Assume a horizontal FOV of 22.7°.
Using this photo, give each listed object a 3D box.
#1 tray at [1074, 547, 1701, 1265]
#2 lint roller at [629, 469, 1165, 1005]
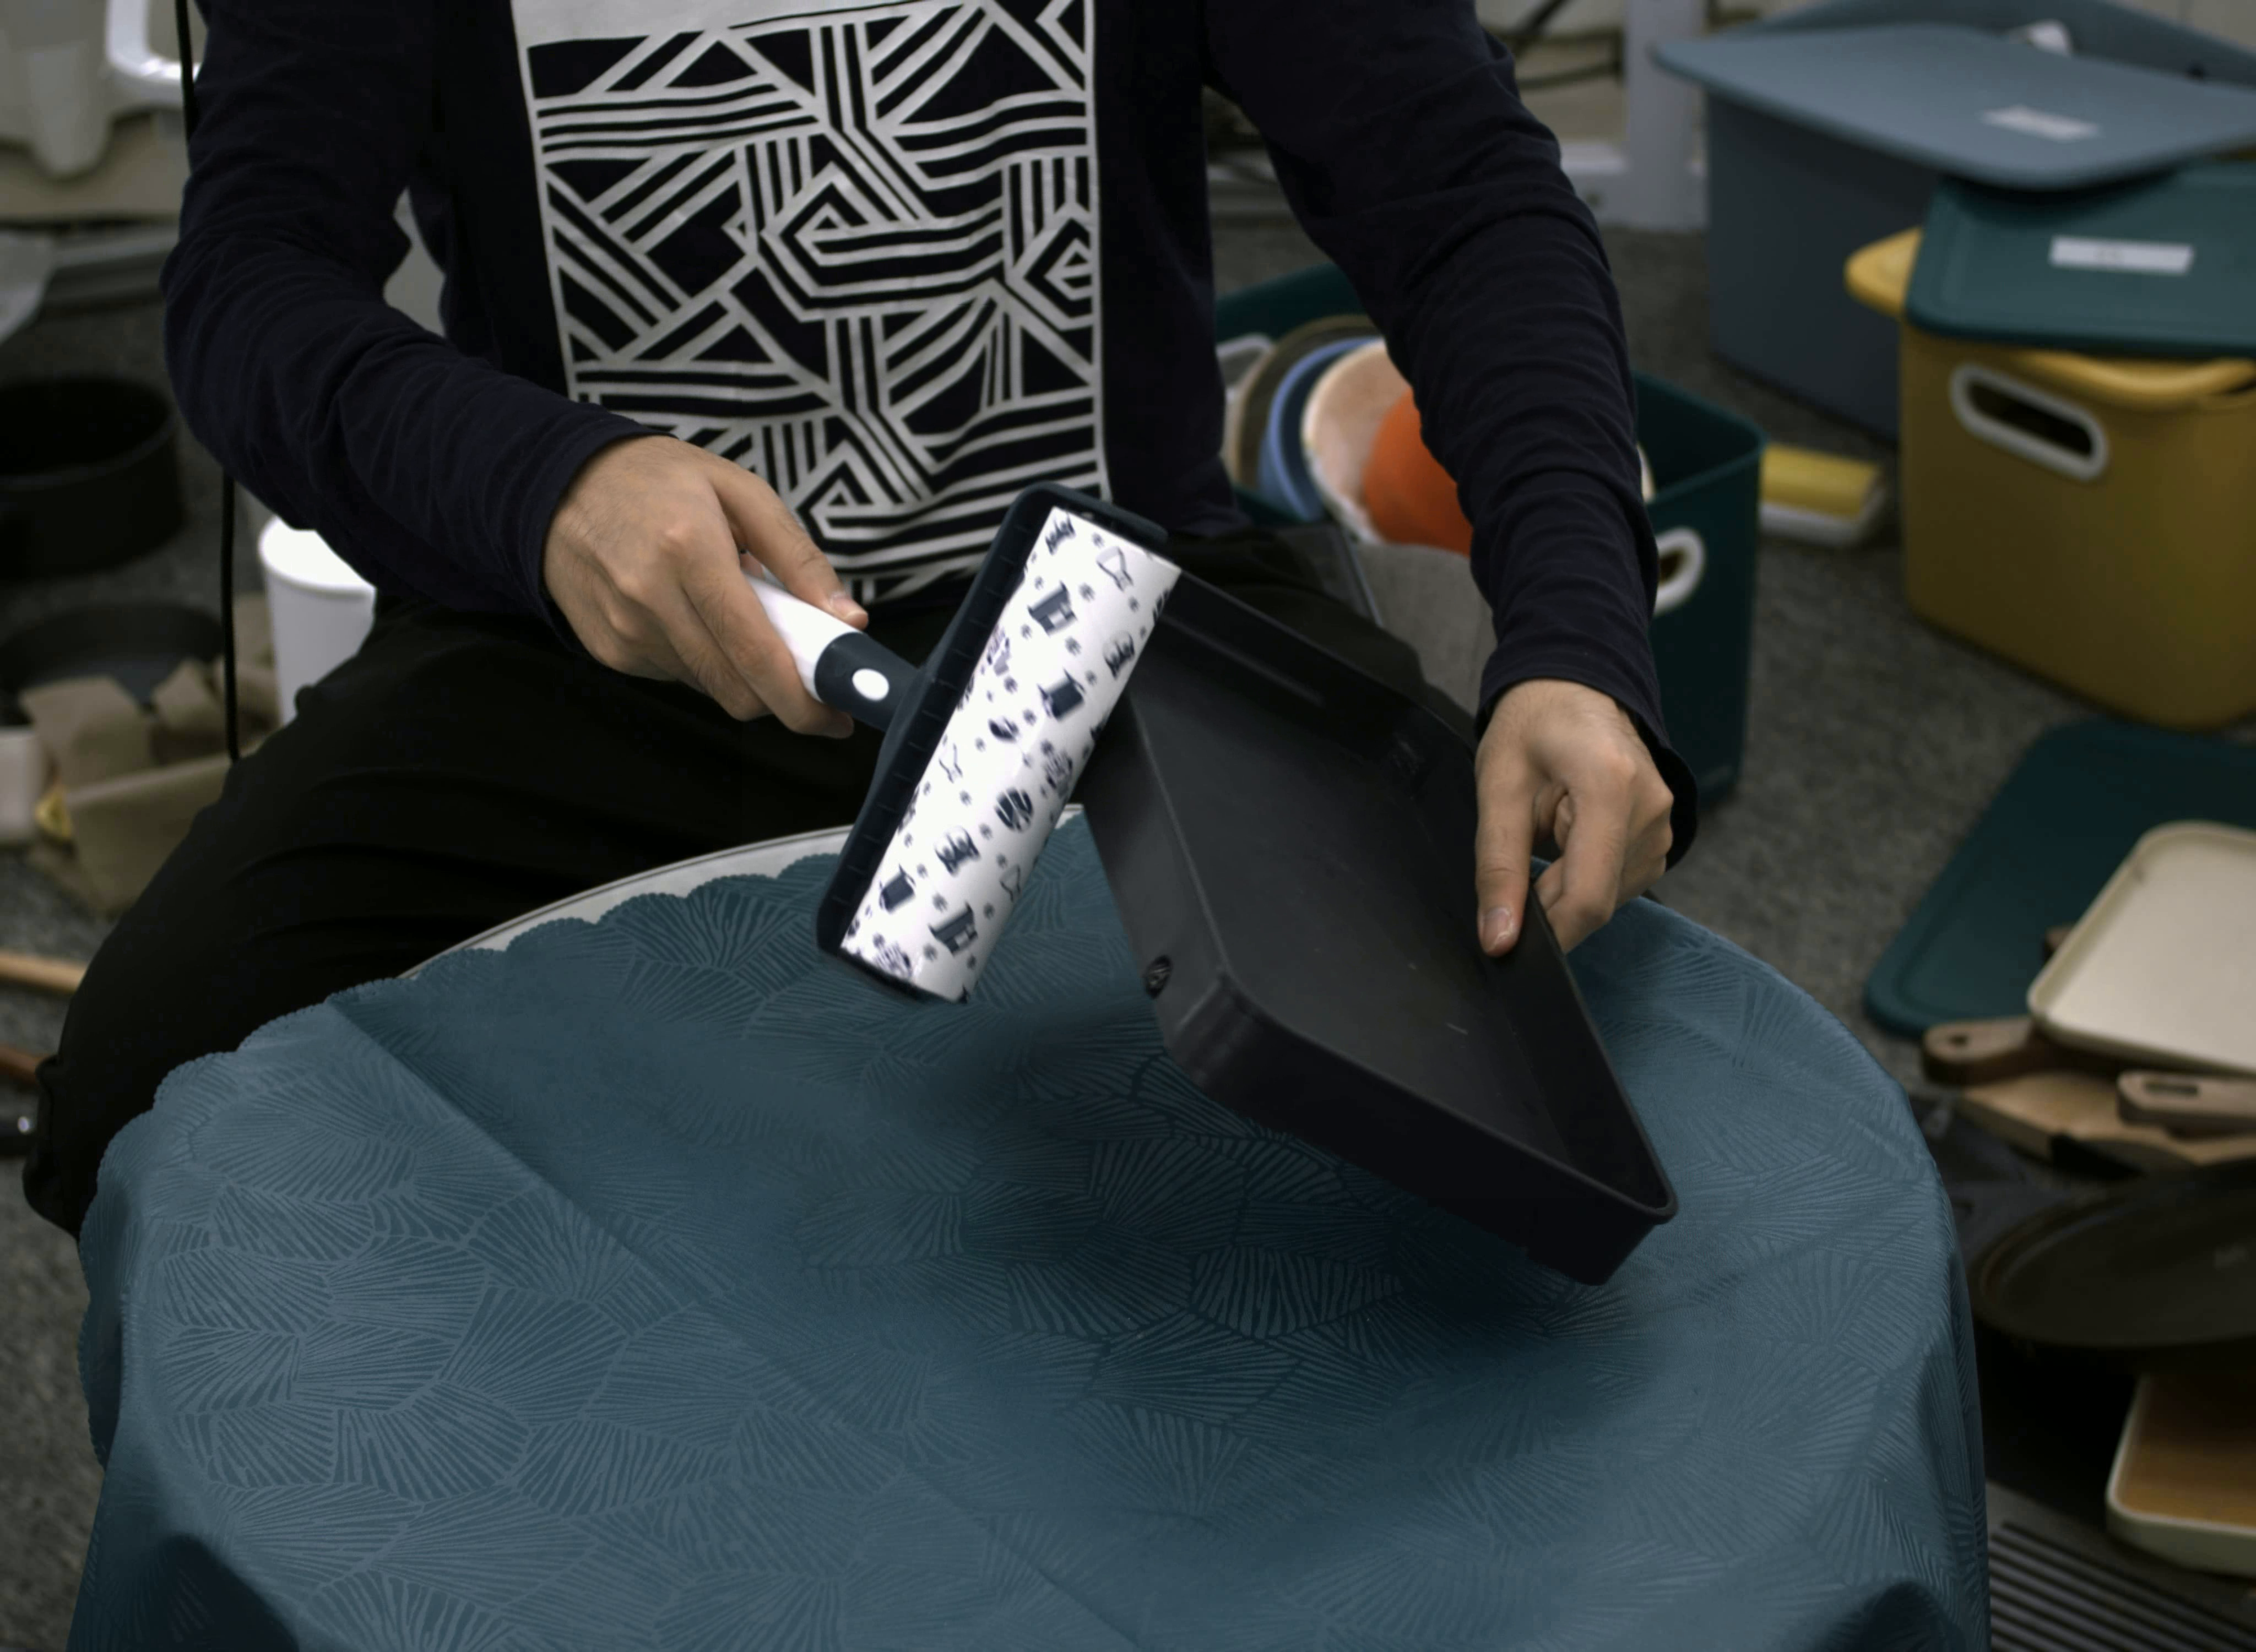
[{"bbox_3d":[0.070,0.016,1.852,0.183,0.037,0.322,29,19,-26],"label":"tray"},{"bbox_3d":[-0.102,-0.057,1.905,0.050,0.177,0.247,25,0,-44],"label":"lint roller"}]
